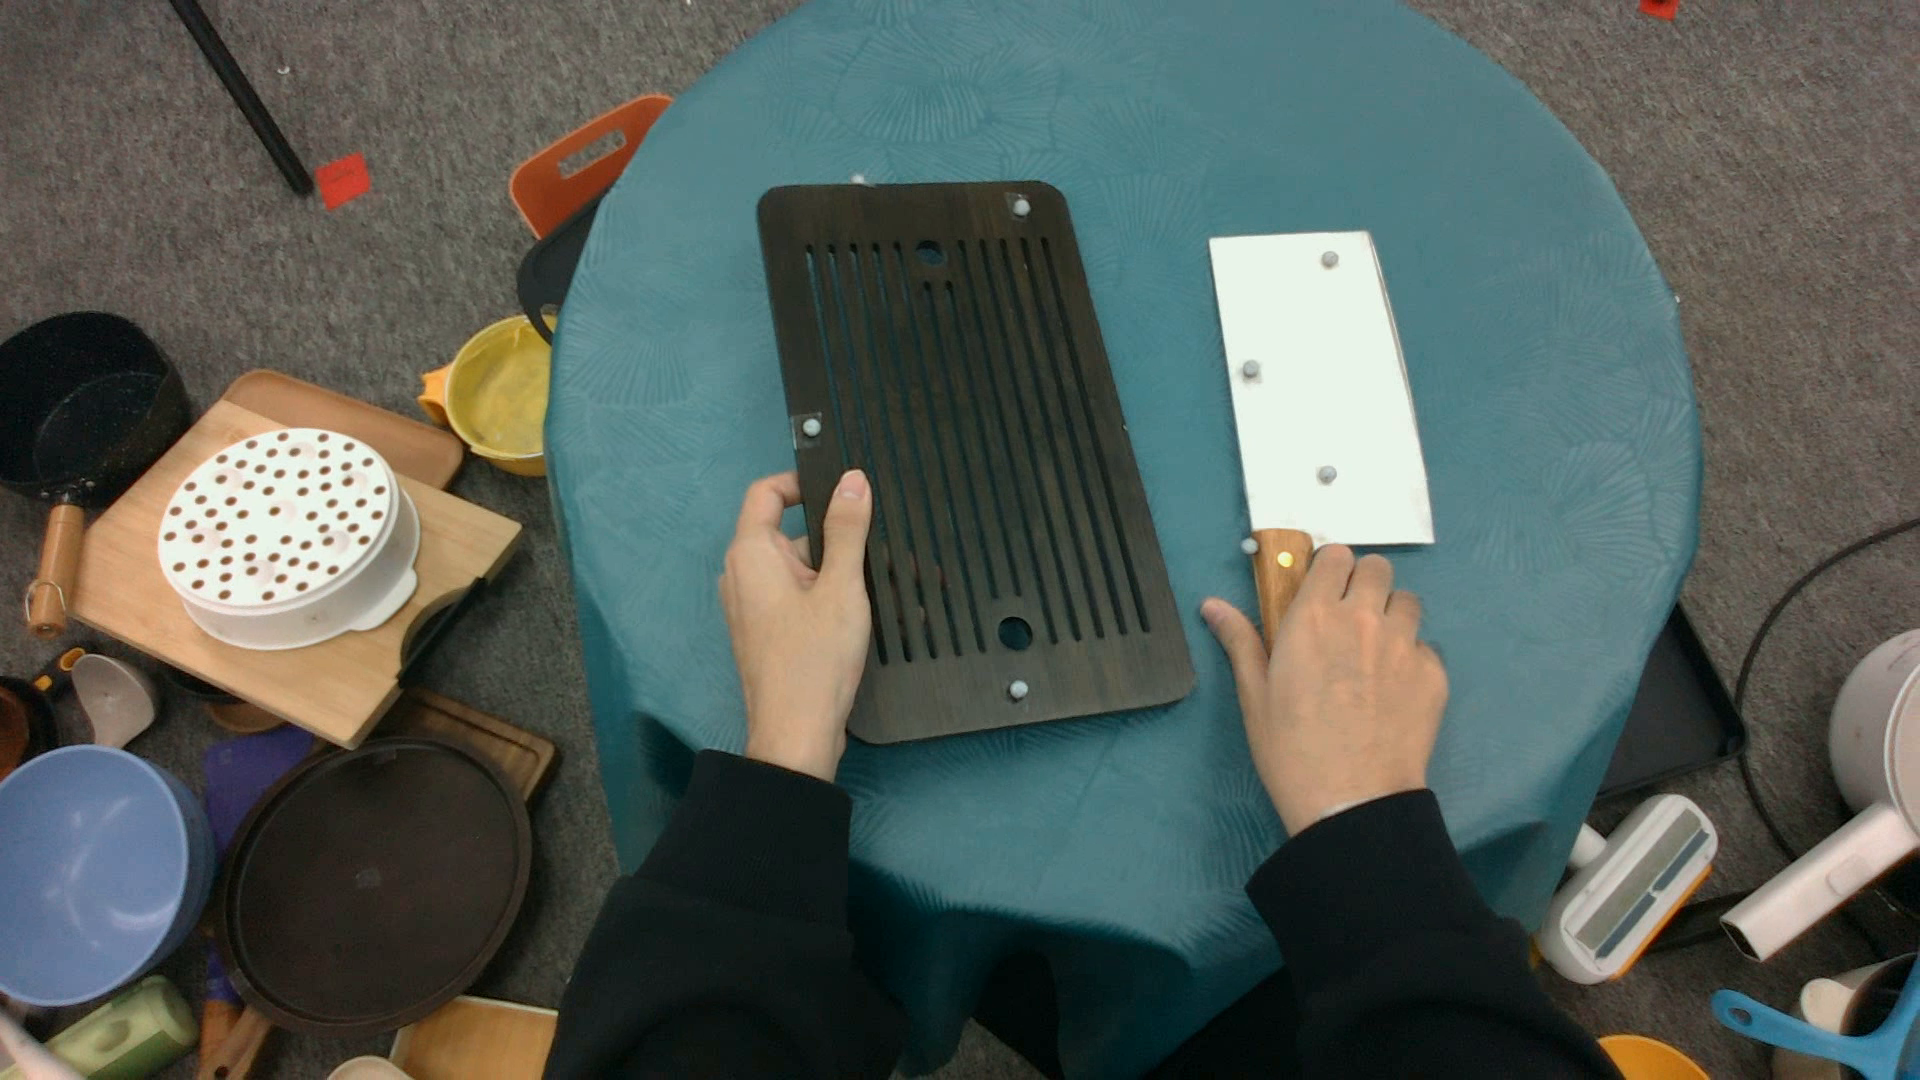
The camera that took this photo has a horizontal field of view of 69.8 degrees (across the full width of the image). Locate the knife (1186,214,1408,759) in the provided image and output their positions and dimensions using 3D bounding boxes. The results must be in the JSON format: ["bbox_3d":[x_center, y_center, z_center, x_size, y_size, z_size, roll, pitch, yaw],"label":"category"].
[{"bbox_3d":[0.175,-0.041,0.694,0.093,0.021,0.307,-2,65,-3],"label":"knife"}]

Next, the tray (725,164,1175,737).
[{"bbox_3d":[-0.011,-0.058,0.679,0.170,0.018,0.307,-6,67,-17],"label":"tray"}]
